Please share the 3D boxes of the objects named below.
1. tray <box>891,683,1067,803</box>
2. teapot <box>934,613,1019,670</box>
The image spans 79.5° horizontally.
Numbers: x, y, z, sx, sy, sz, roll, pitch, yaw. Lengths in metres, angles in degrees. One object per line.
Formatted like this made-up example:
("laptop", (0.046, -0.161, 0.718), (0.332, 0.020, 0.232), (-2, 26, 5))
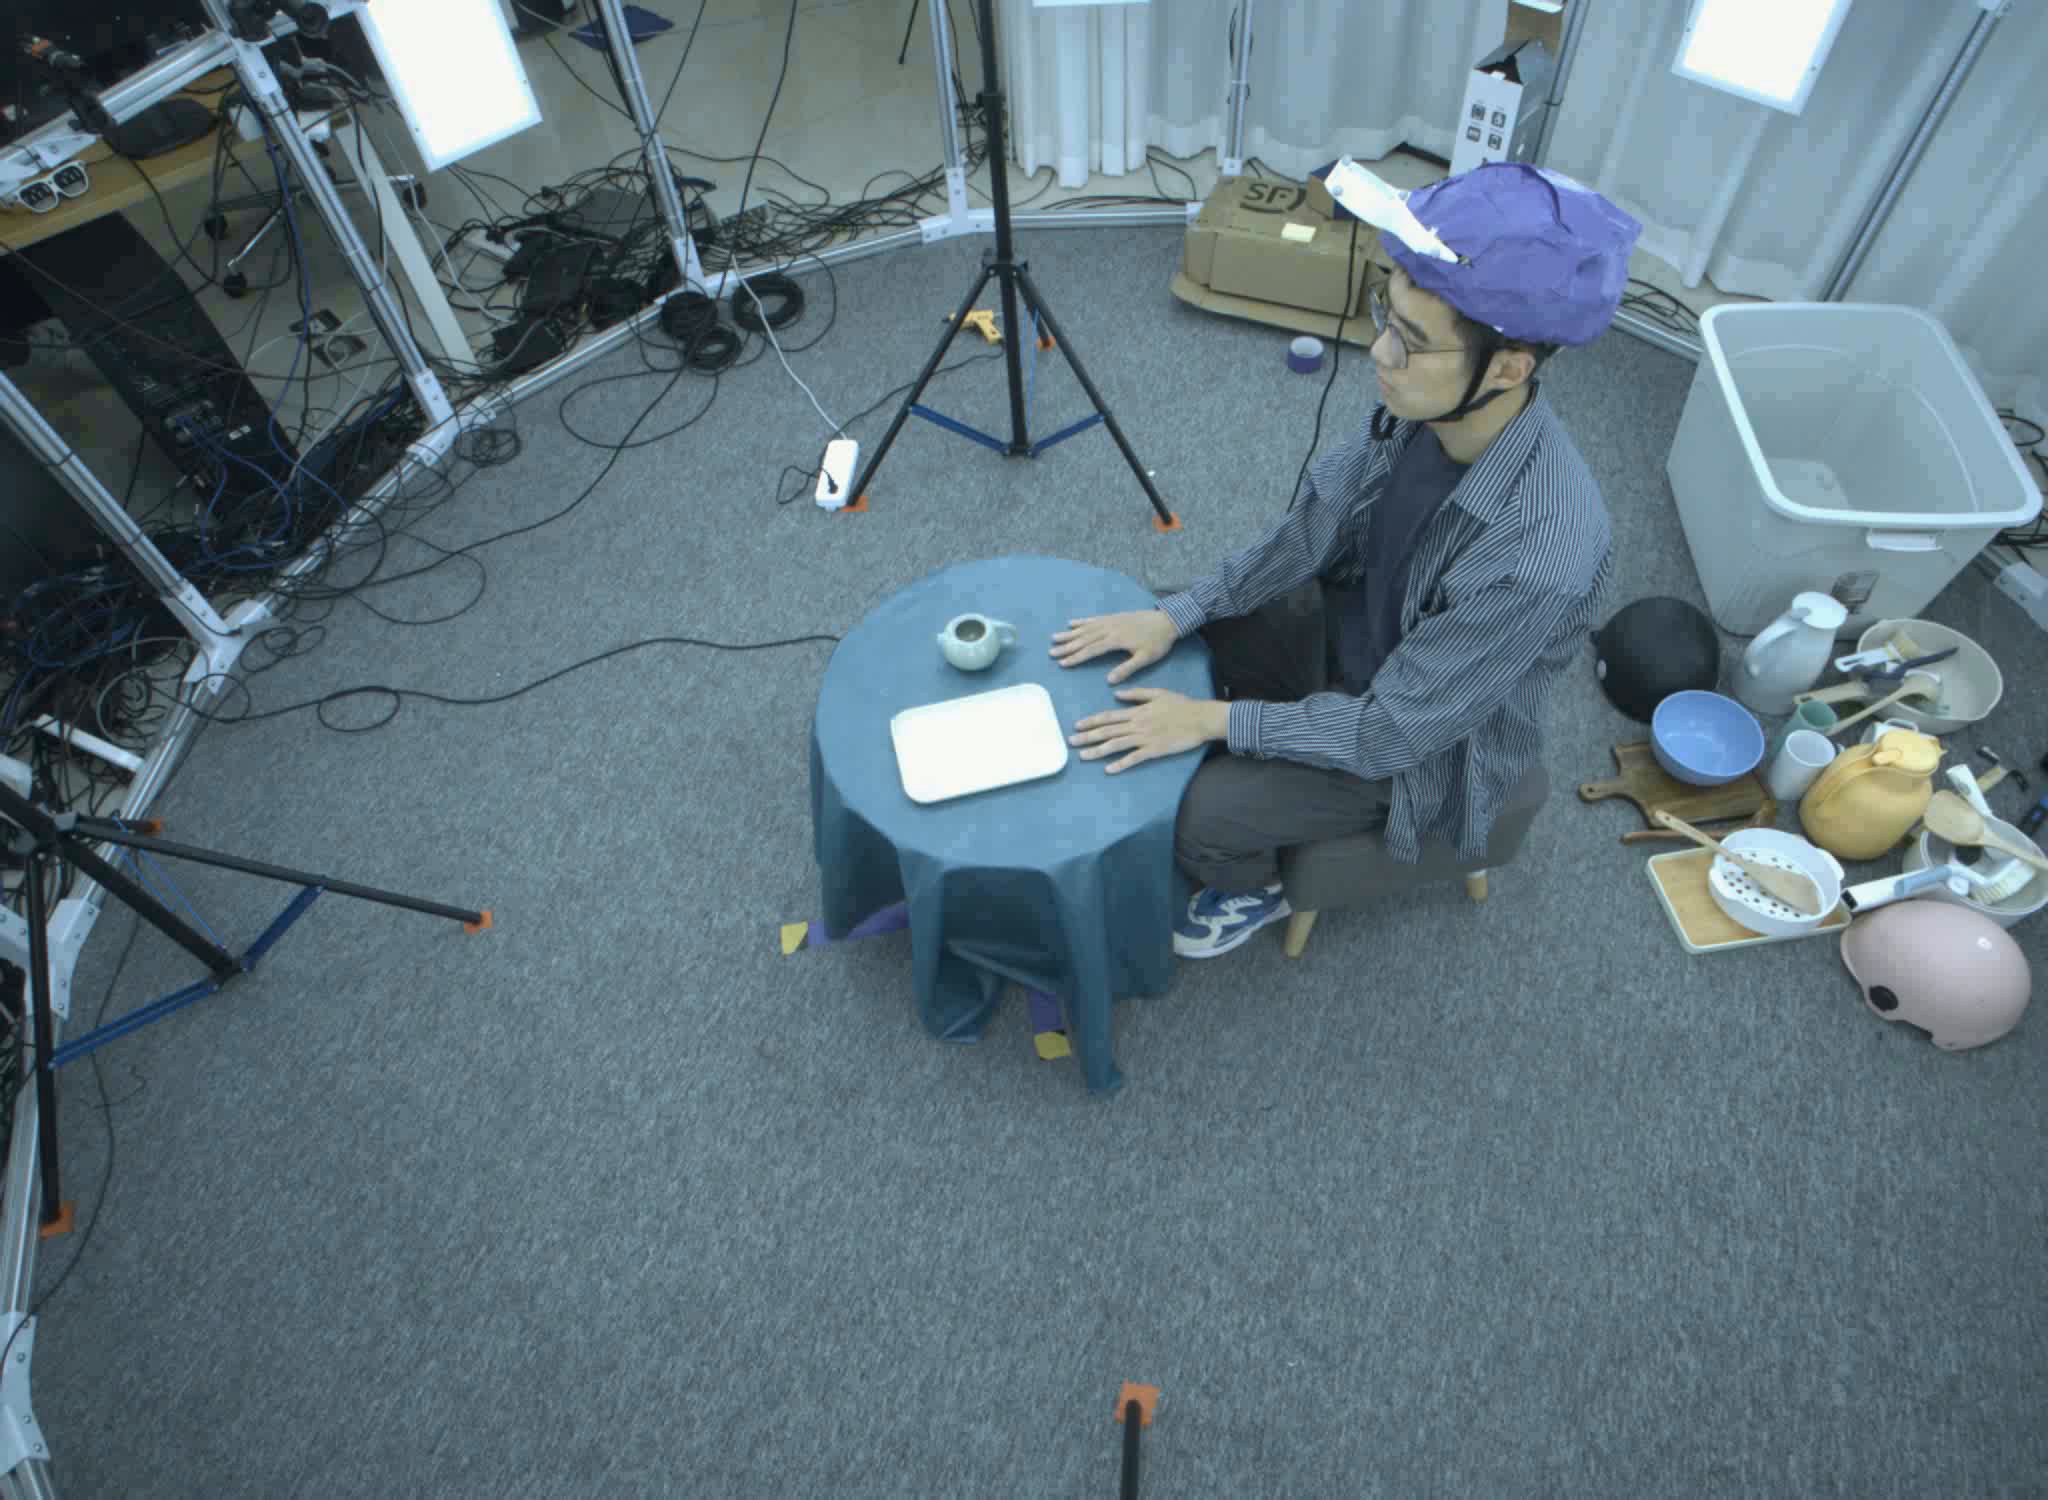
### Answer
("tray", (-0.067, -0.010, 1.790), (0.241, 0.017, 0.168), (-12, 56, -8))
("teapot", (-0.072, -0.167, 1.877), (0.129, 0.061, 0.090), (-8, 53, -5))
